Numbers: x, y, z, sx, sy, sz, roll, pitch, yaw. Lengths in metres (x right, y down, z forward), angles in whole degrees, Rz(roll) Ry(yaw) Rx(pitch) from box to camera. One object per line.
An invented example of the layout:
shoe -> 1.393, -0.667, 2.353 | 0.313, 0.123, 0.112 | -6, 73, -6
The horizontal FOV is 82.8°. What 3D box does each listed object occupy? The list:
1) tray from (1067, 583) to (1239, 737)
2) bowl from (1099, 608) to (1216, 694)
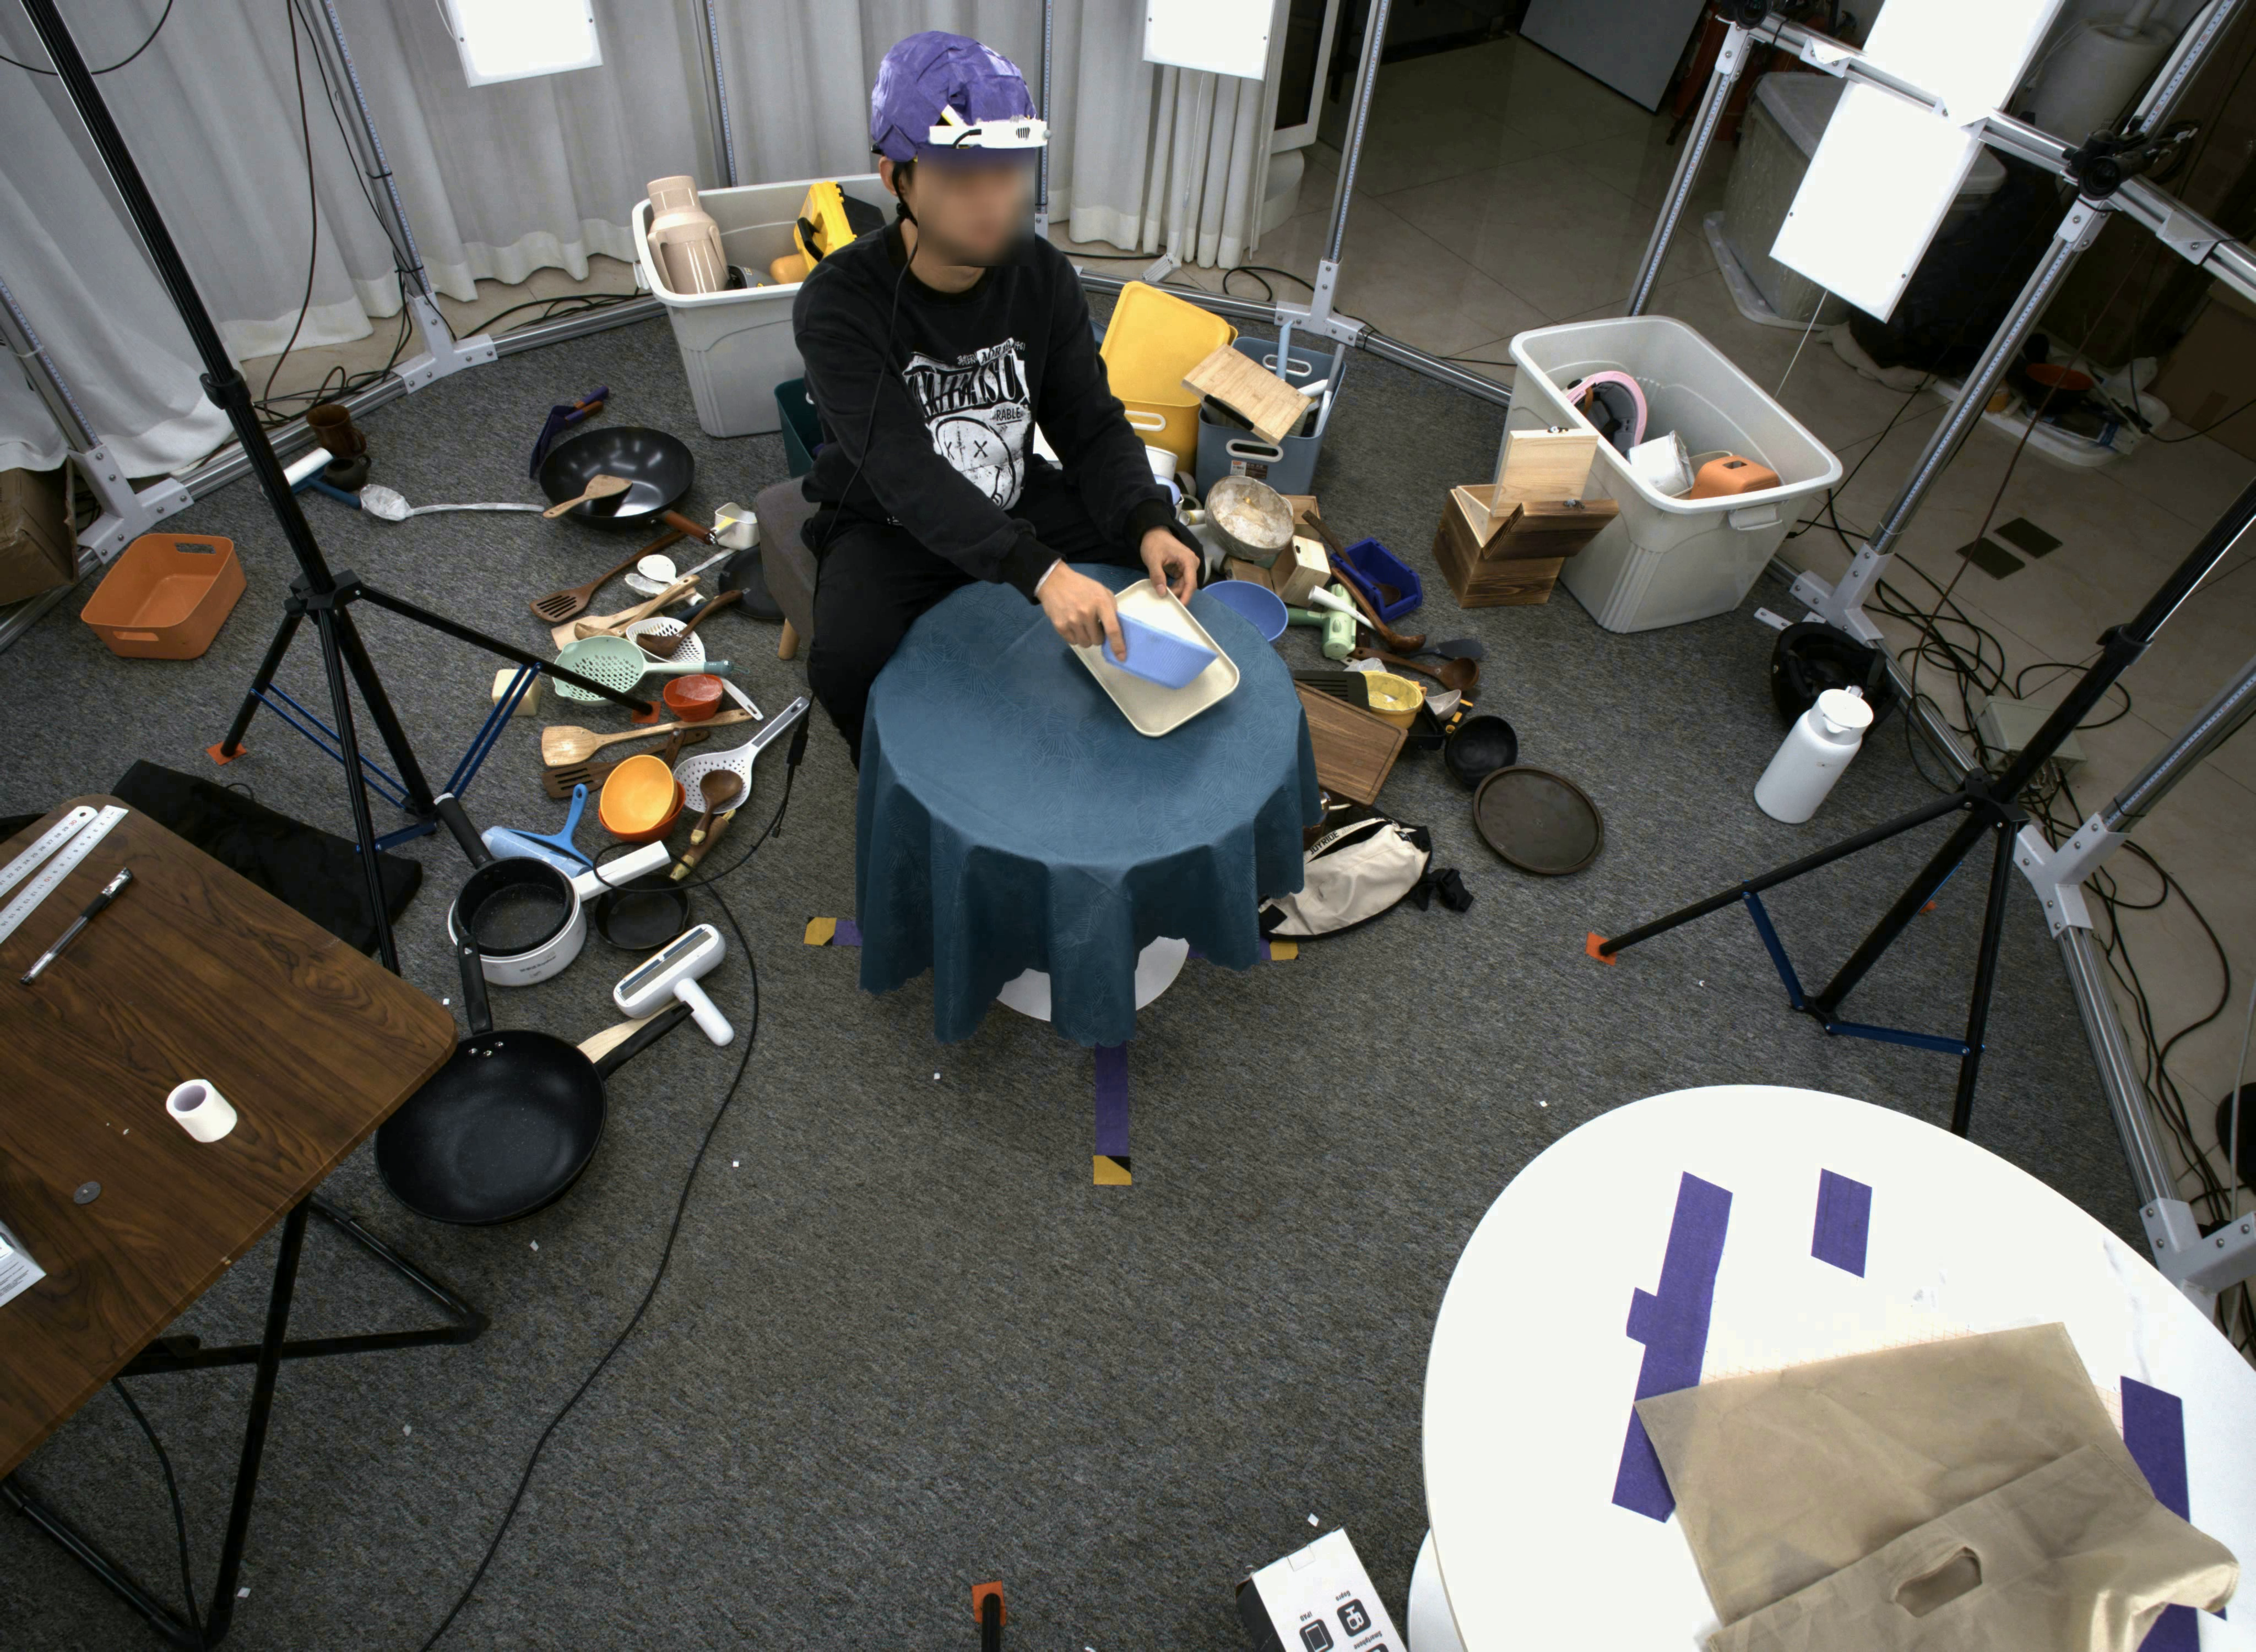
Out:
tray -> 0.035, -0.241, 1.853 | 0.172, 0.017, 0.244 | -31, 61, -11
bowl -> 0.028, -0.236, 1.771 | 0.176, 0.070, 0.177 | 23, 9, -4
